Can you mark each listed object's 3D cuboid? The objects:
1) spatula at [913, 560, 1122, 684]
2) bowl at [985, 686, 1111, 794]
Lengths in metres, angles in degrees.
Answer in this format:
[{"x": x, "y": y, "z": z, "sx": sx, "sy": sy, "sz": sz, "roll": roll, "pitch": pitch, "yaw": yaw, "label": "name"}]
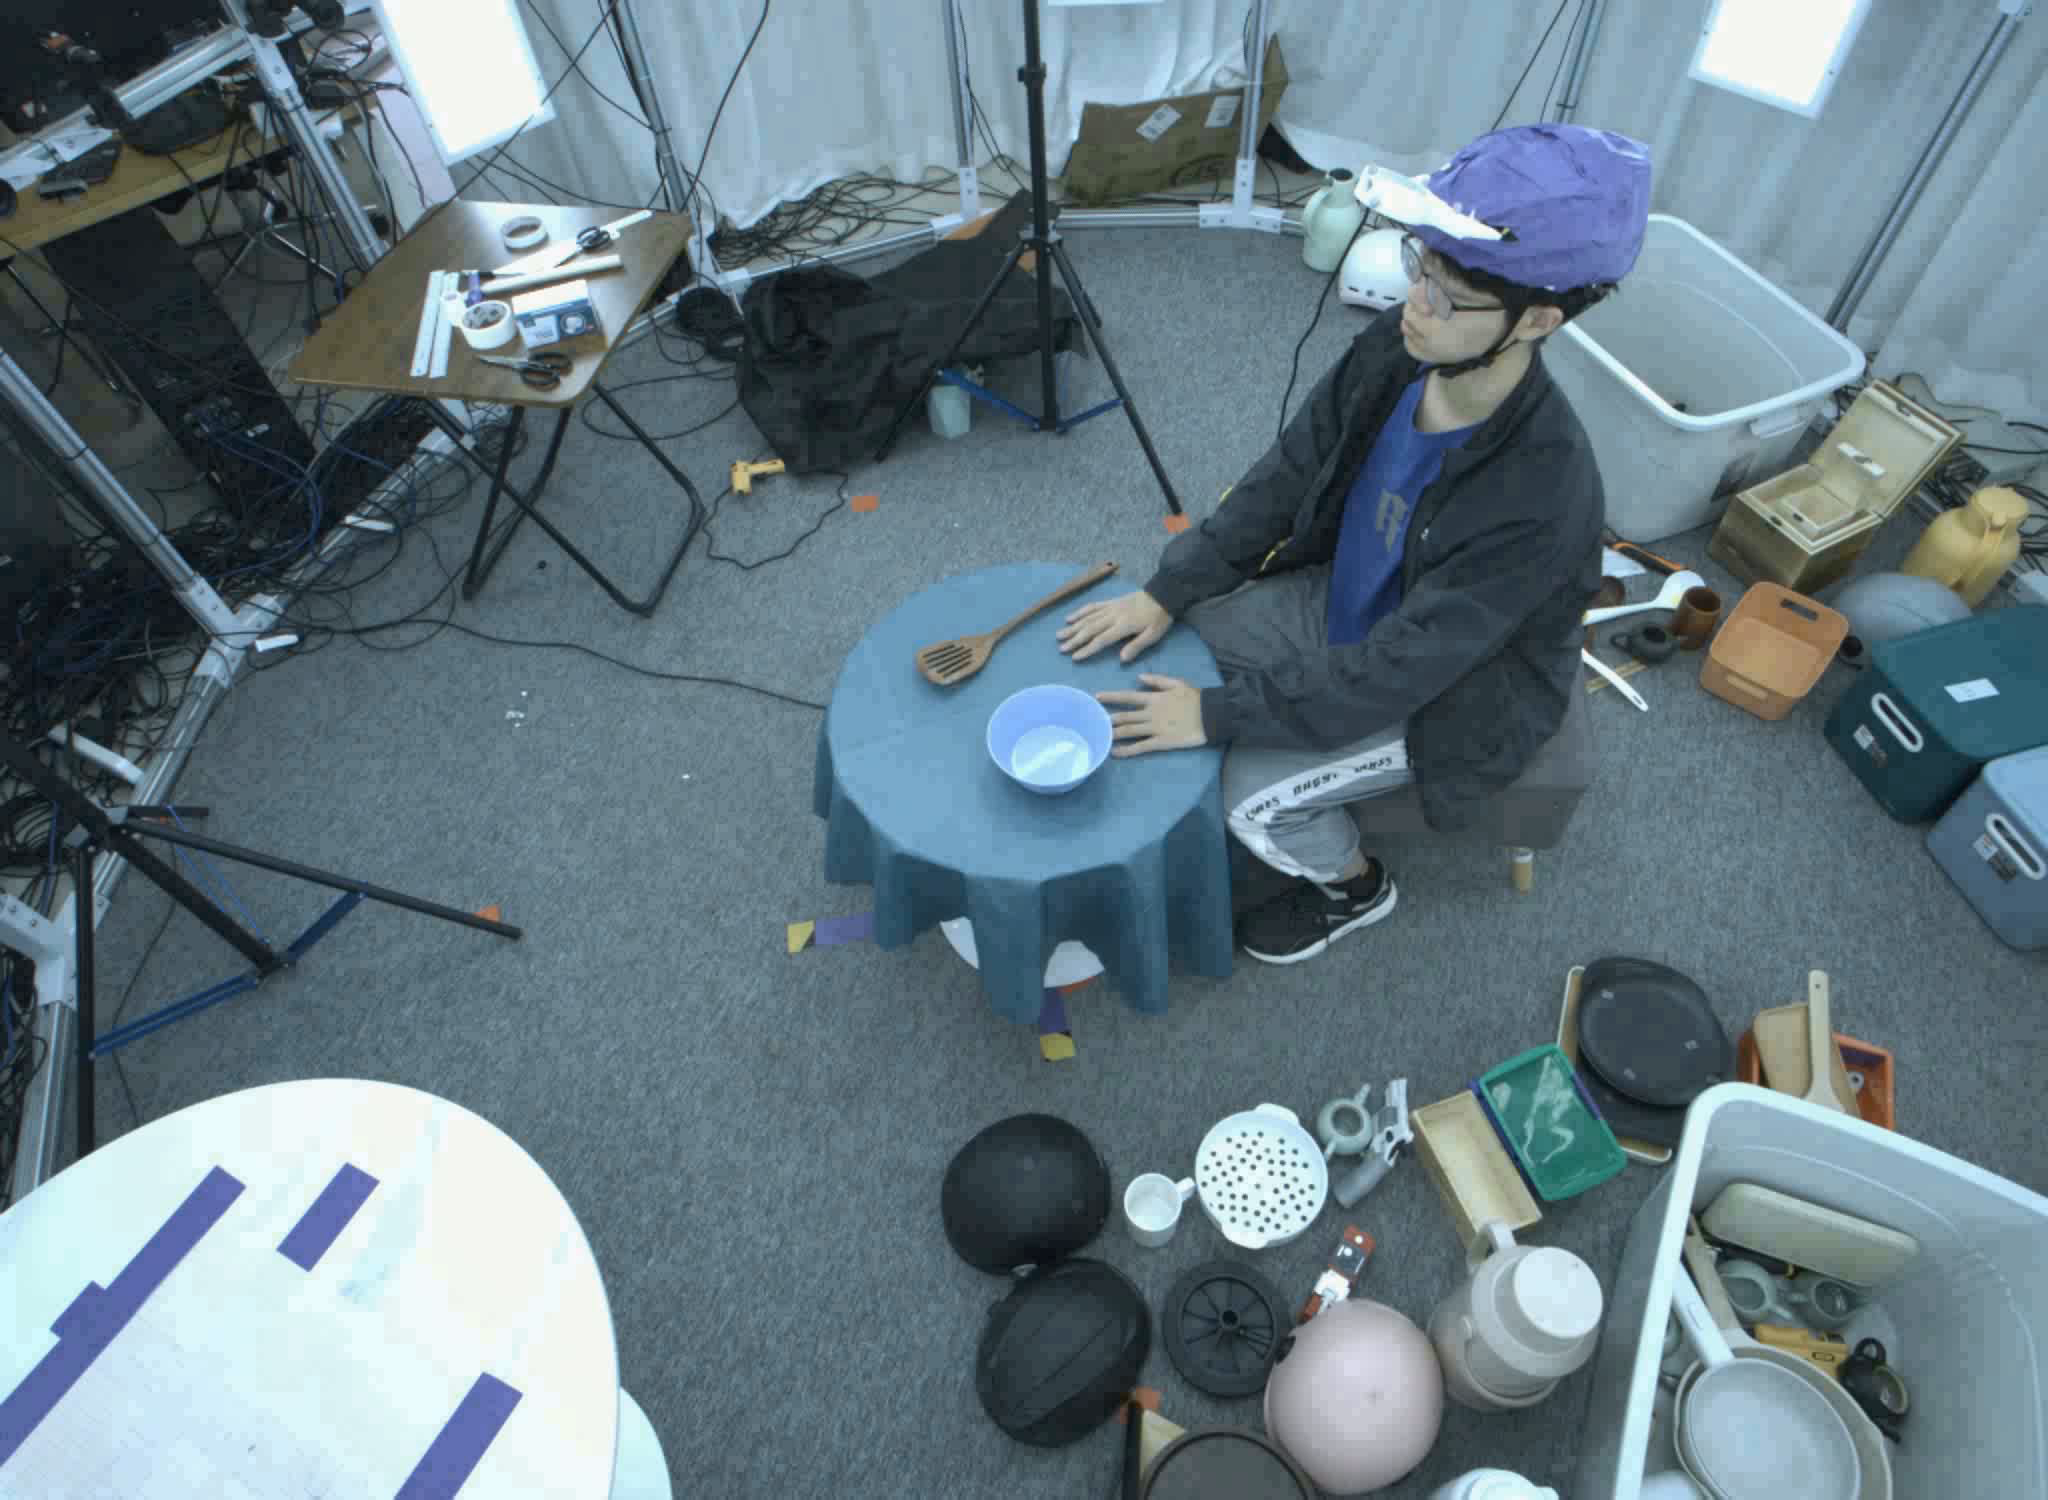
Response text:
[{"x": 0.001, "y": -0.207, "z": 1.915, "sx": 0.390, "sy": 0.024, "sz": 0.084, "roll": -32, "pitch": 60, "yaw": -21, "label": "spatula"}, {"x": 0.035, "y": -0.004, "z": 1.736, "sx": 0.176, "sy": 0.071, "sz": 0.174, "roll": 0, "pitch": 54, "yaw": 1, "label": "bowl"}]
